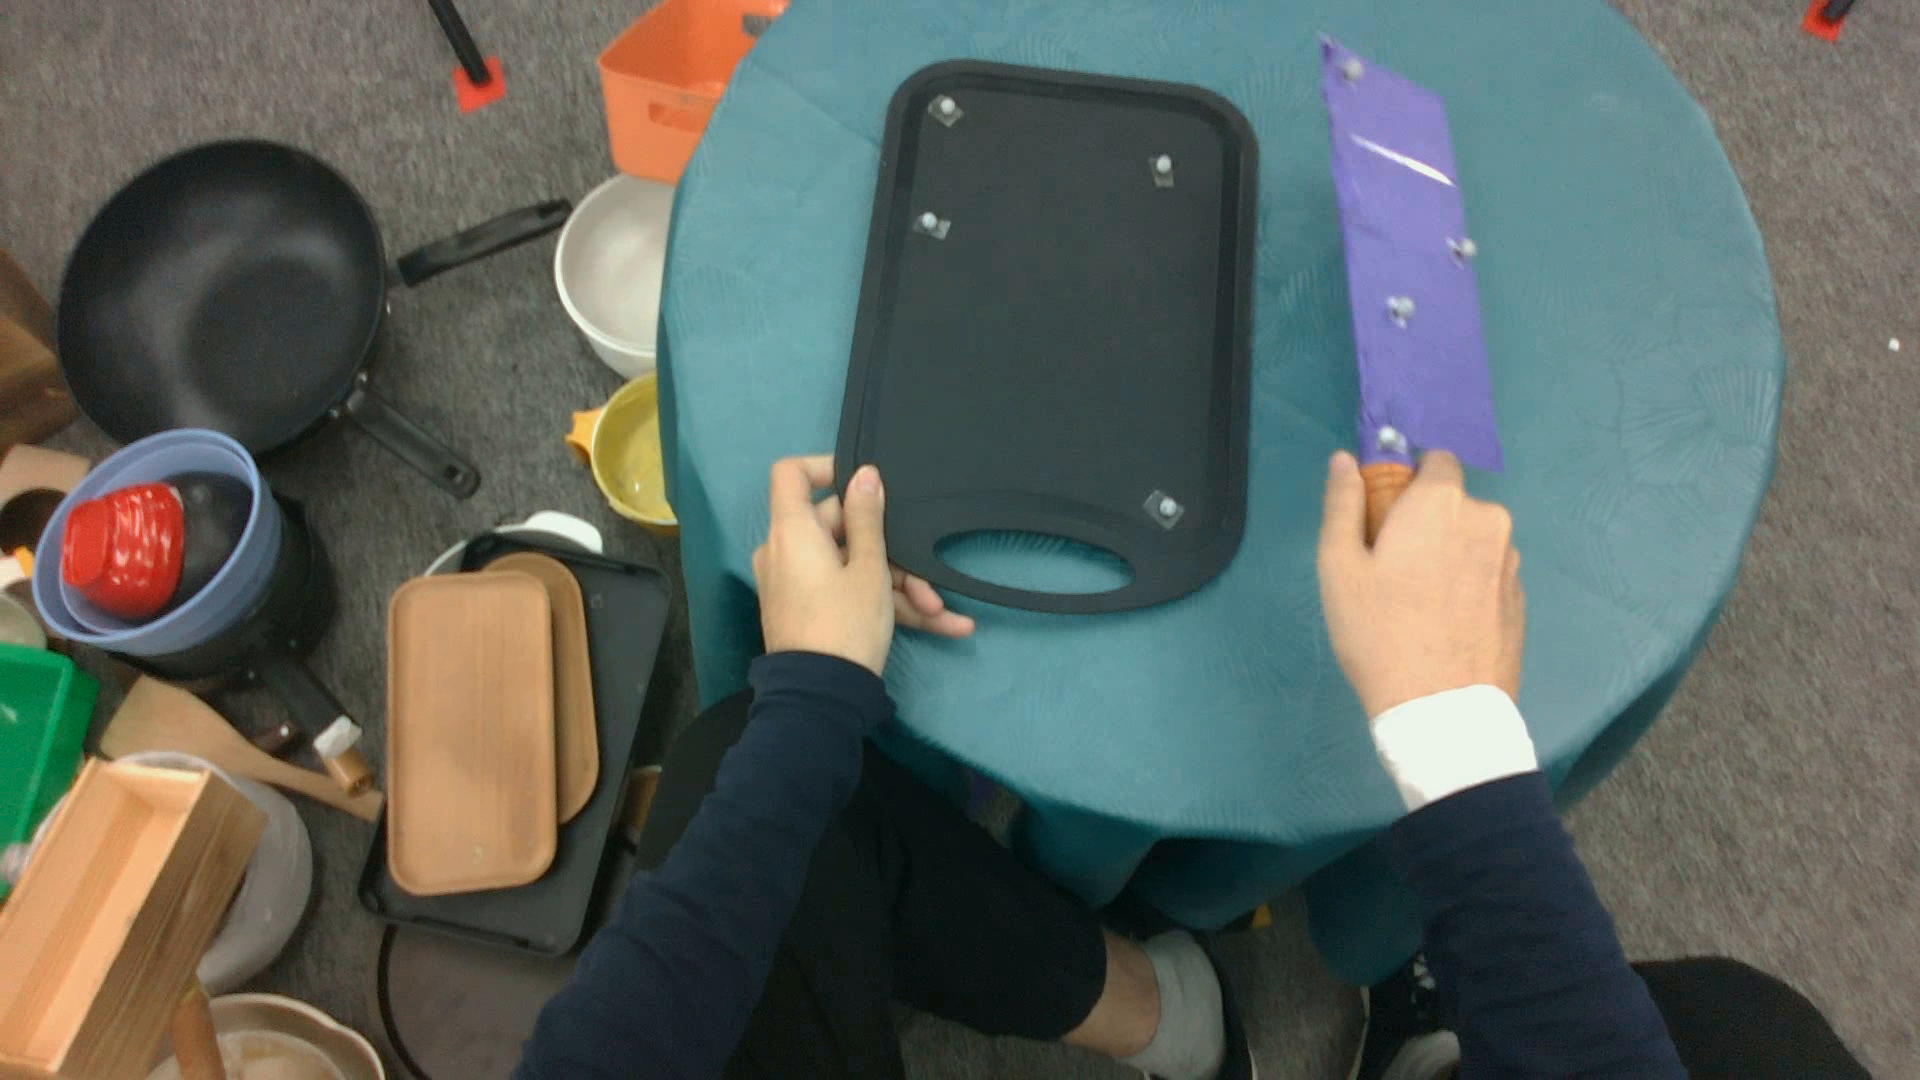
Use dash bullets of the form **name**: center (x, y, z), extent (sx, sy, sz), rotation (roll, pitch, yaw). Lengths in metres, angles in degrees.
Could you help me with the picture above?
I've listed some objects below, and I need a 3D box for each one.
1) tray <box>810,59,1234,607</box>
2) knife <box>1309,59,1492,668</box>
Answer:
- **tray**: center (0.040, -0.119, 0.730), extent (0.211, 0.010, 0.326), rotation (8, 67, -2)
- **knife**: center (0.218, -0.089, 0.659), extent (0.104, 0.032, 0.316), rotation (13, 67, -26)
